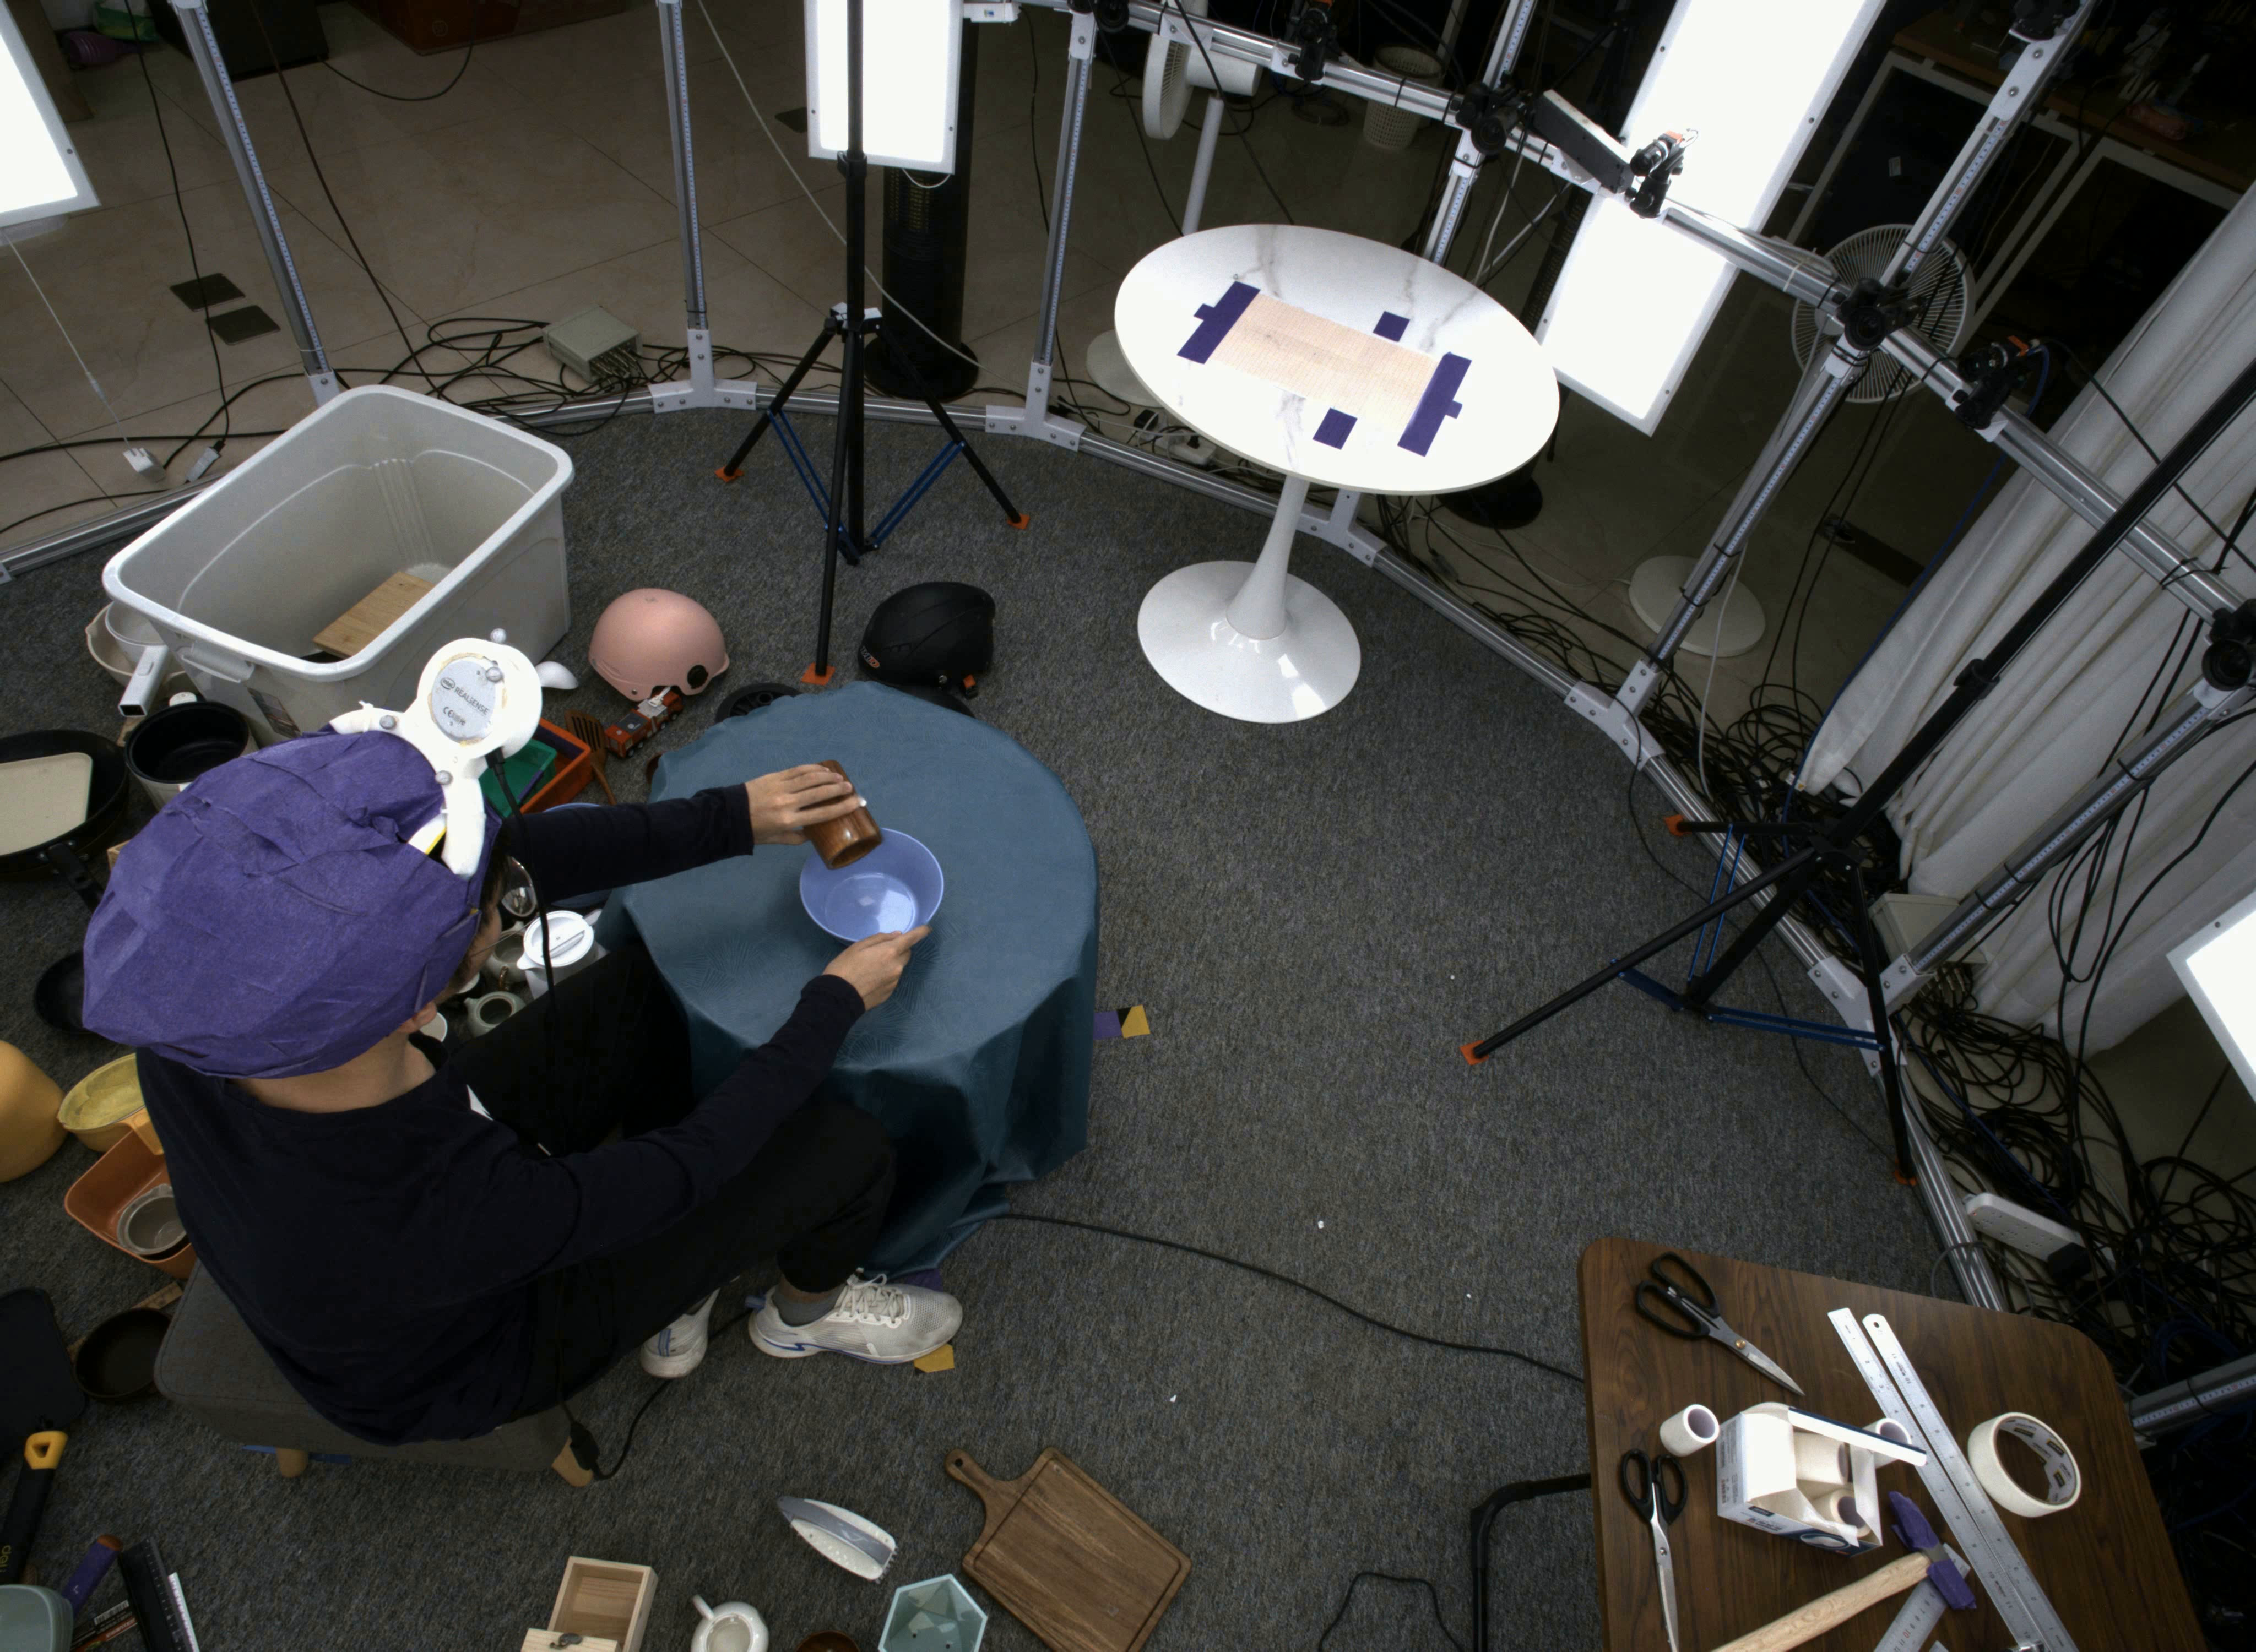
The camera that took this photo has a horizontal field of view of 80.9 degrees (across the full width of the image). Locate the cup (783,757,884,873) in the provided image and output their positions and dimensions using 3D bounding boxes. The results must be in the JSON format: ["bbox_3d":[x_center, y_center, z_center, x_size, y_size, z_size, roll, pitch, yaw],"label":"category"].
[{"bbox_3d":[-0.362,-0.014,1.598,0.088,0.088,0.117,-26,75,-28],"label":"cup"}]

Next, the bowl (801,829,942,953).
[{"bbox_3d":[-0.322,0.091,1.638,0.175,0.072,0.173,7,53,-8],"label":"bowl"}]
